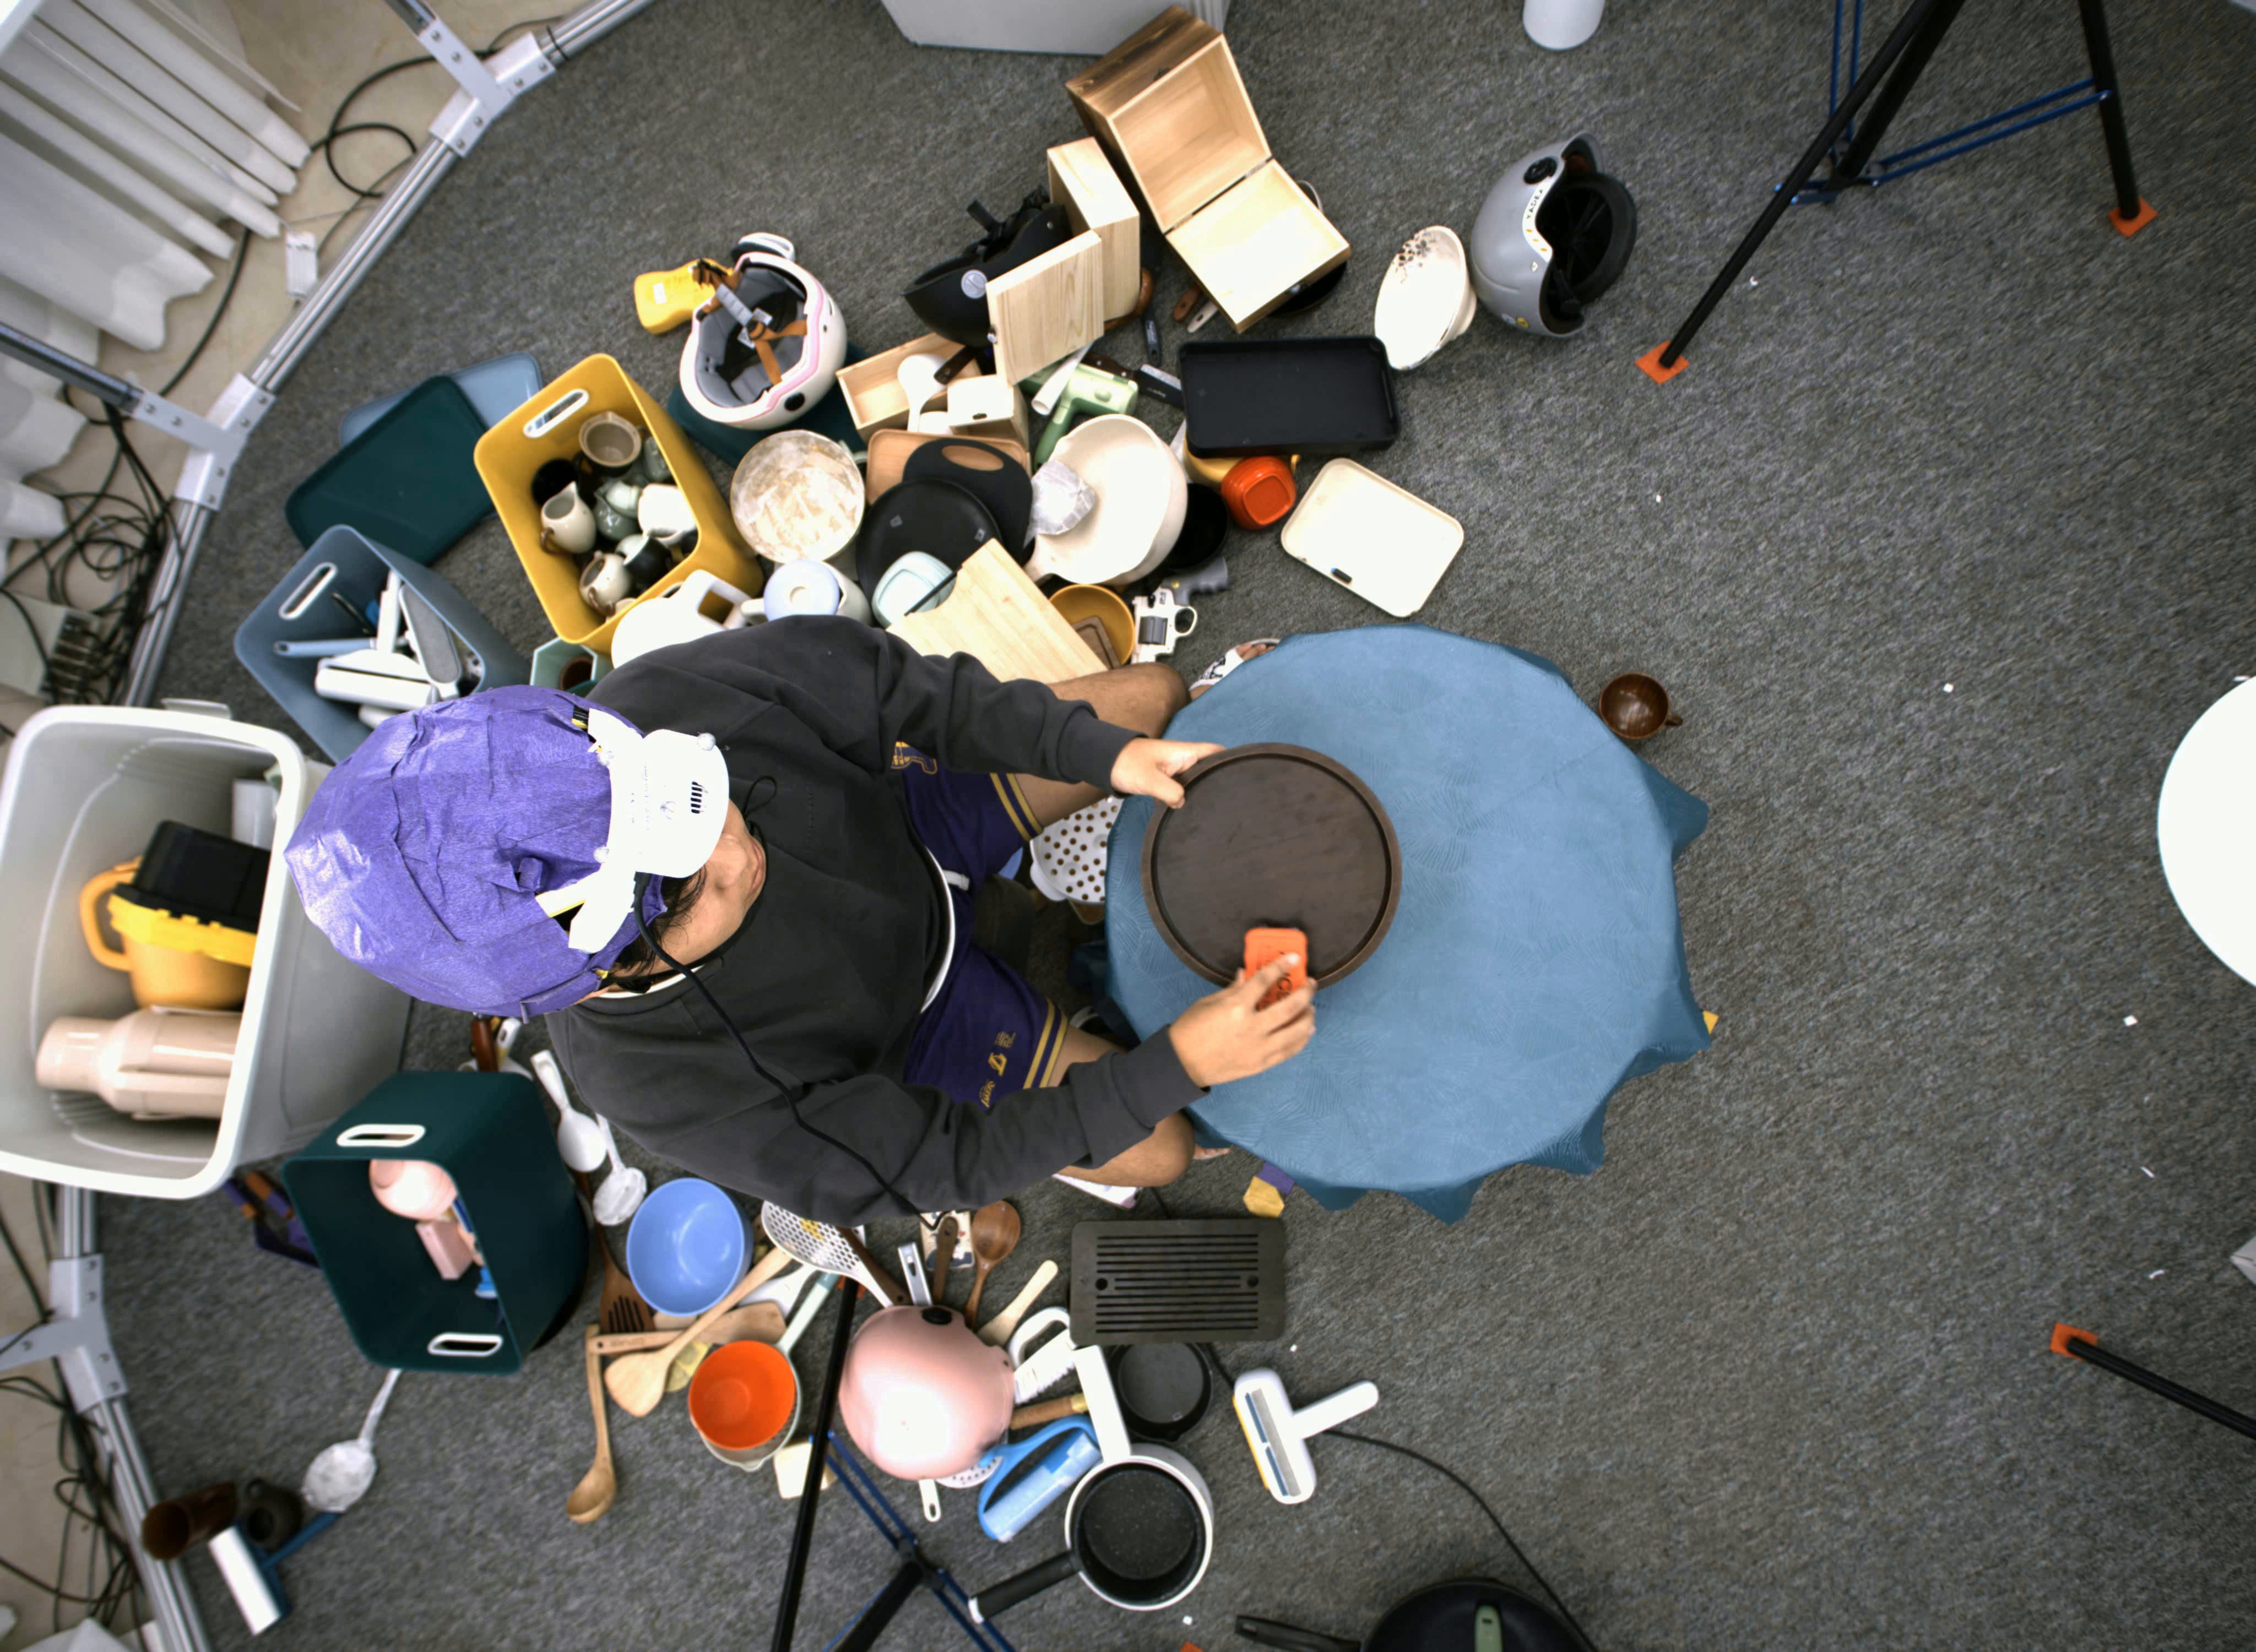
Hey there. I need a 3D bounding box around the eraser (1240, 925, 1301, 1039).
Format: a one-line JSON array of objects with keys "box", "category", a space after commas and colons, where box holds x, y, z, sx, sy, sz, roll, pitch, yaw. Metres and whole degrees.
[{"box": [0.137, 0.150, 1.337, 0.059, 0.023, 0.108, 0, 96, 8], "category": "eraser"}]

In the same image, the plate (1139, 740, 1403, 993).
[{"box": [0.137, 0.041, 1.335, 0.255, 0.028, 0.258, 3, 106, 11], "category": "plate"}]
